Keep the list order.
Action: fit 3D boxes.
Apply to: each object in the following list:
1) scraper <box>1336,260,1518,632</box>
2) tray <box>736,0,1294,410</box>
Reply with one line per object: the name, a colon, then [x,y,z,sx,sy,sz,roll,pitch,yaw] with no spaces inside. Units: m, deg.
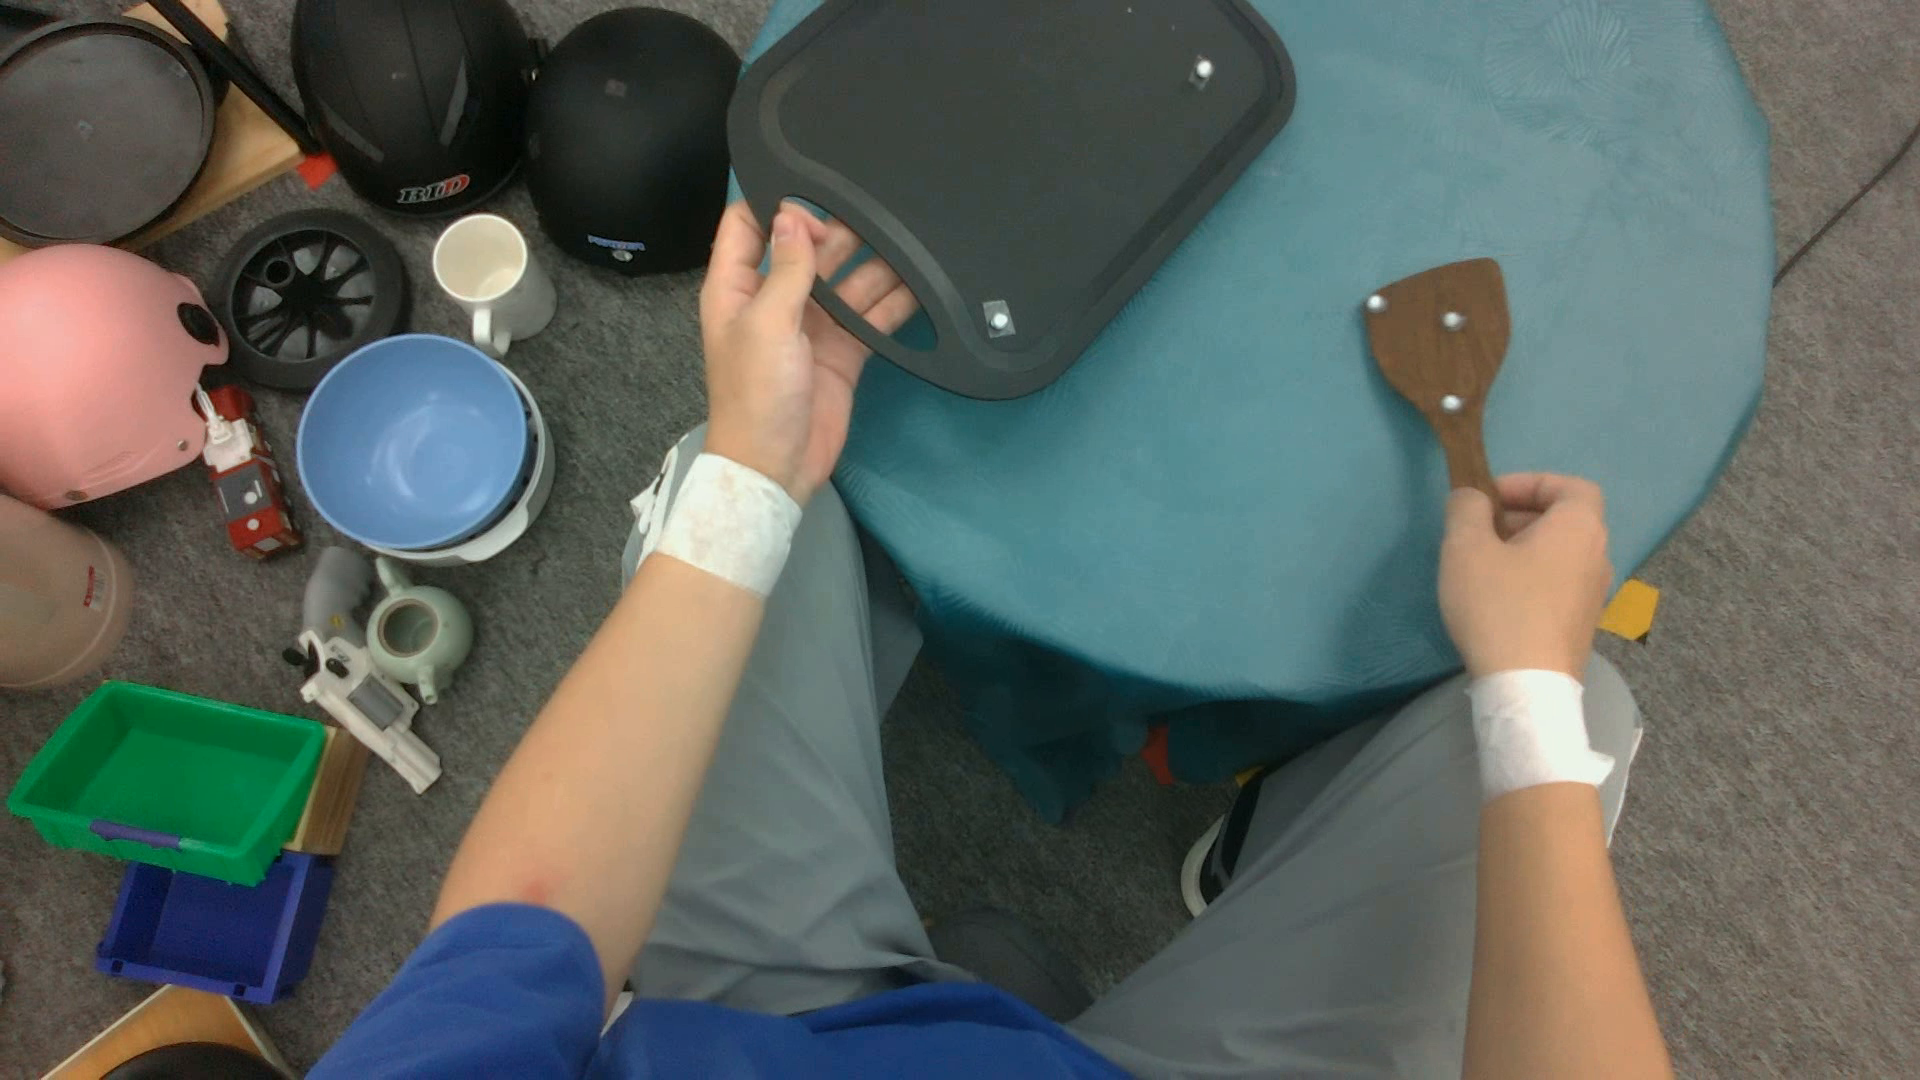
scraper: [0.255,-0.052,0.728,0.075,0.011,0.212,-14,65,19]
tray: [0.038,-0.218,0.725,0.211,0.010,0.326,44,67,-6]
